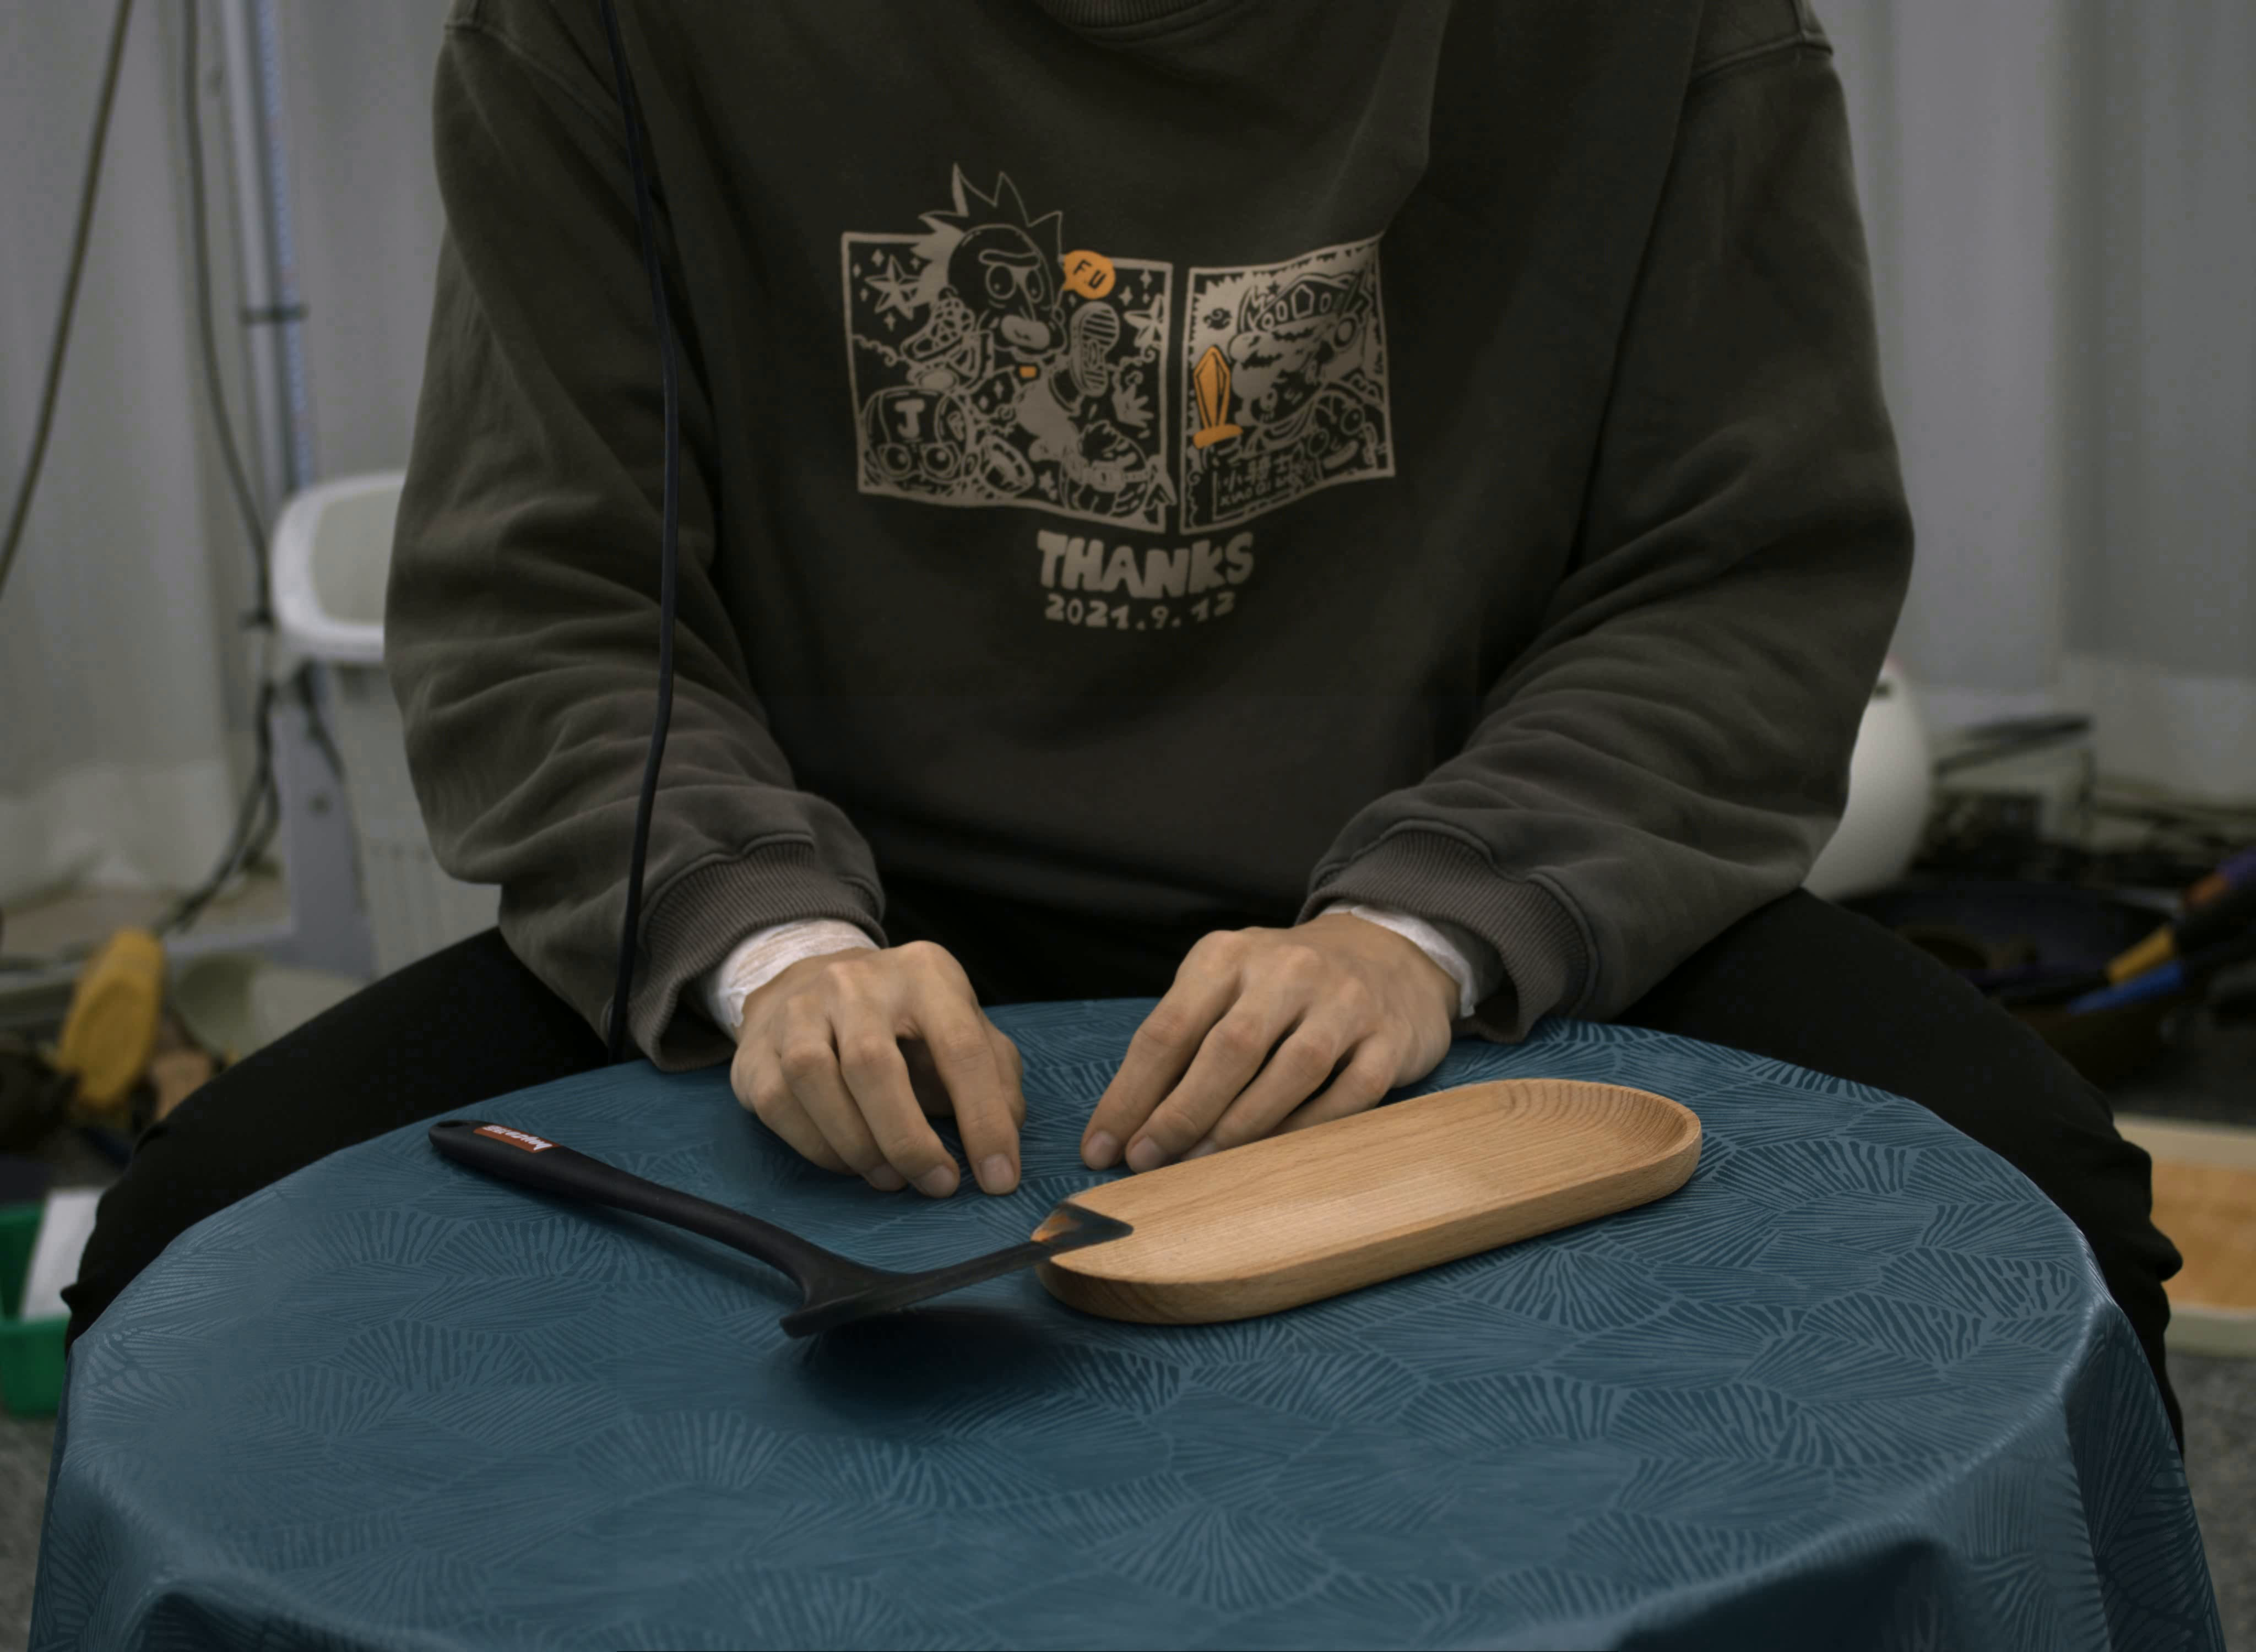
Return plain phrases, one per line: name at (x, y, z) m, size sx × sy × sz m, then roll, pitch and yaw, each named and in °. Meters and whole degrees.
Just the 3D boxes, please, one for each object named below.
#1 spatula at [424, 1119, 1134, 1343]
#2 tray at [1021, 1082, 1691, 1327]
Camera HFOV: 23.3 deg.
spatula at (-0.129, 0.115, 1.675) m, size 0.099 × 0.040 × 0.328 m, roll -12°, pitch 18°, yaw -36°
tray at (0.072, 0.115, 1.675) m, size 0.230 × 0.020 × 0.102 m, roll -14°, pitch 18°, yaw -32°
